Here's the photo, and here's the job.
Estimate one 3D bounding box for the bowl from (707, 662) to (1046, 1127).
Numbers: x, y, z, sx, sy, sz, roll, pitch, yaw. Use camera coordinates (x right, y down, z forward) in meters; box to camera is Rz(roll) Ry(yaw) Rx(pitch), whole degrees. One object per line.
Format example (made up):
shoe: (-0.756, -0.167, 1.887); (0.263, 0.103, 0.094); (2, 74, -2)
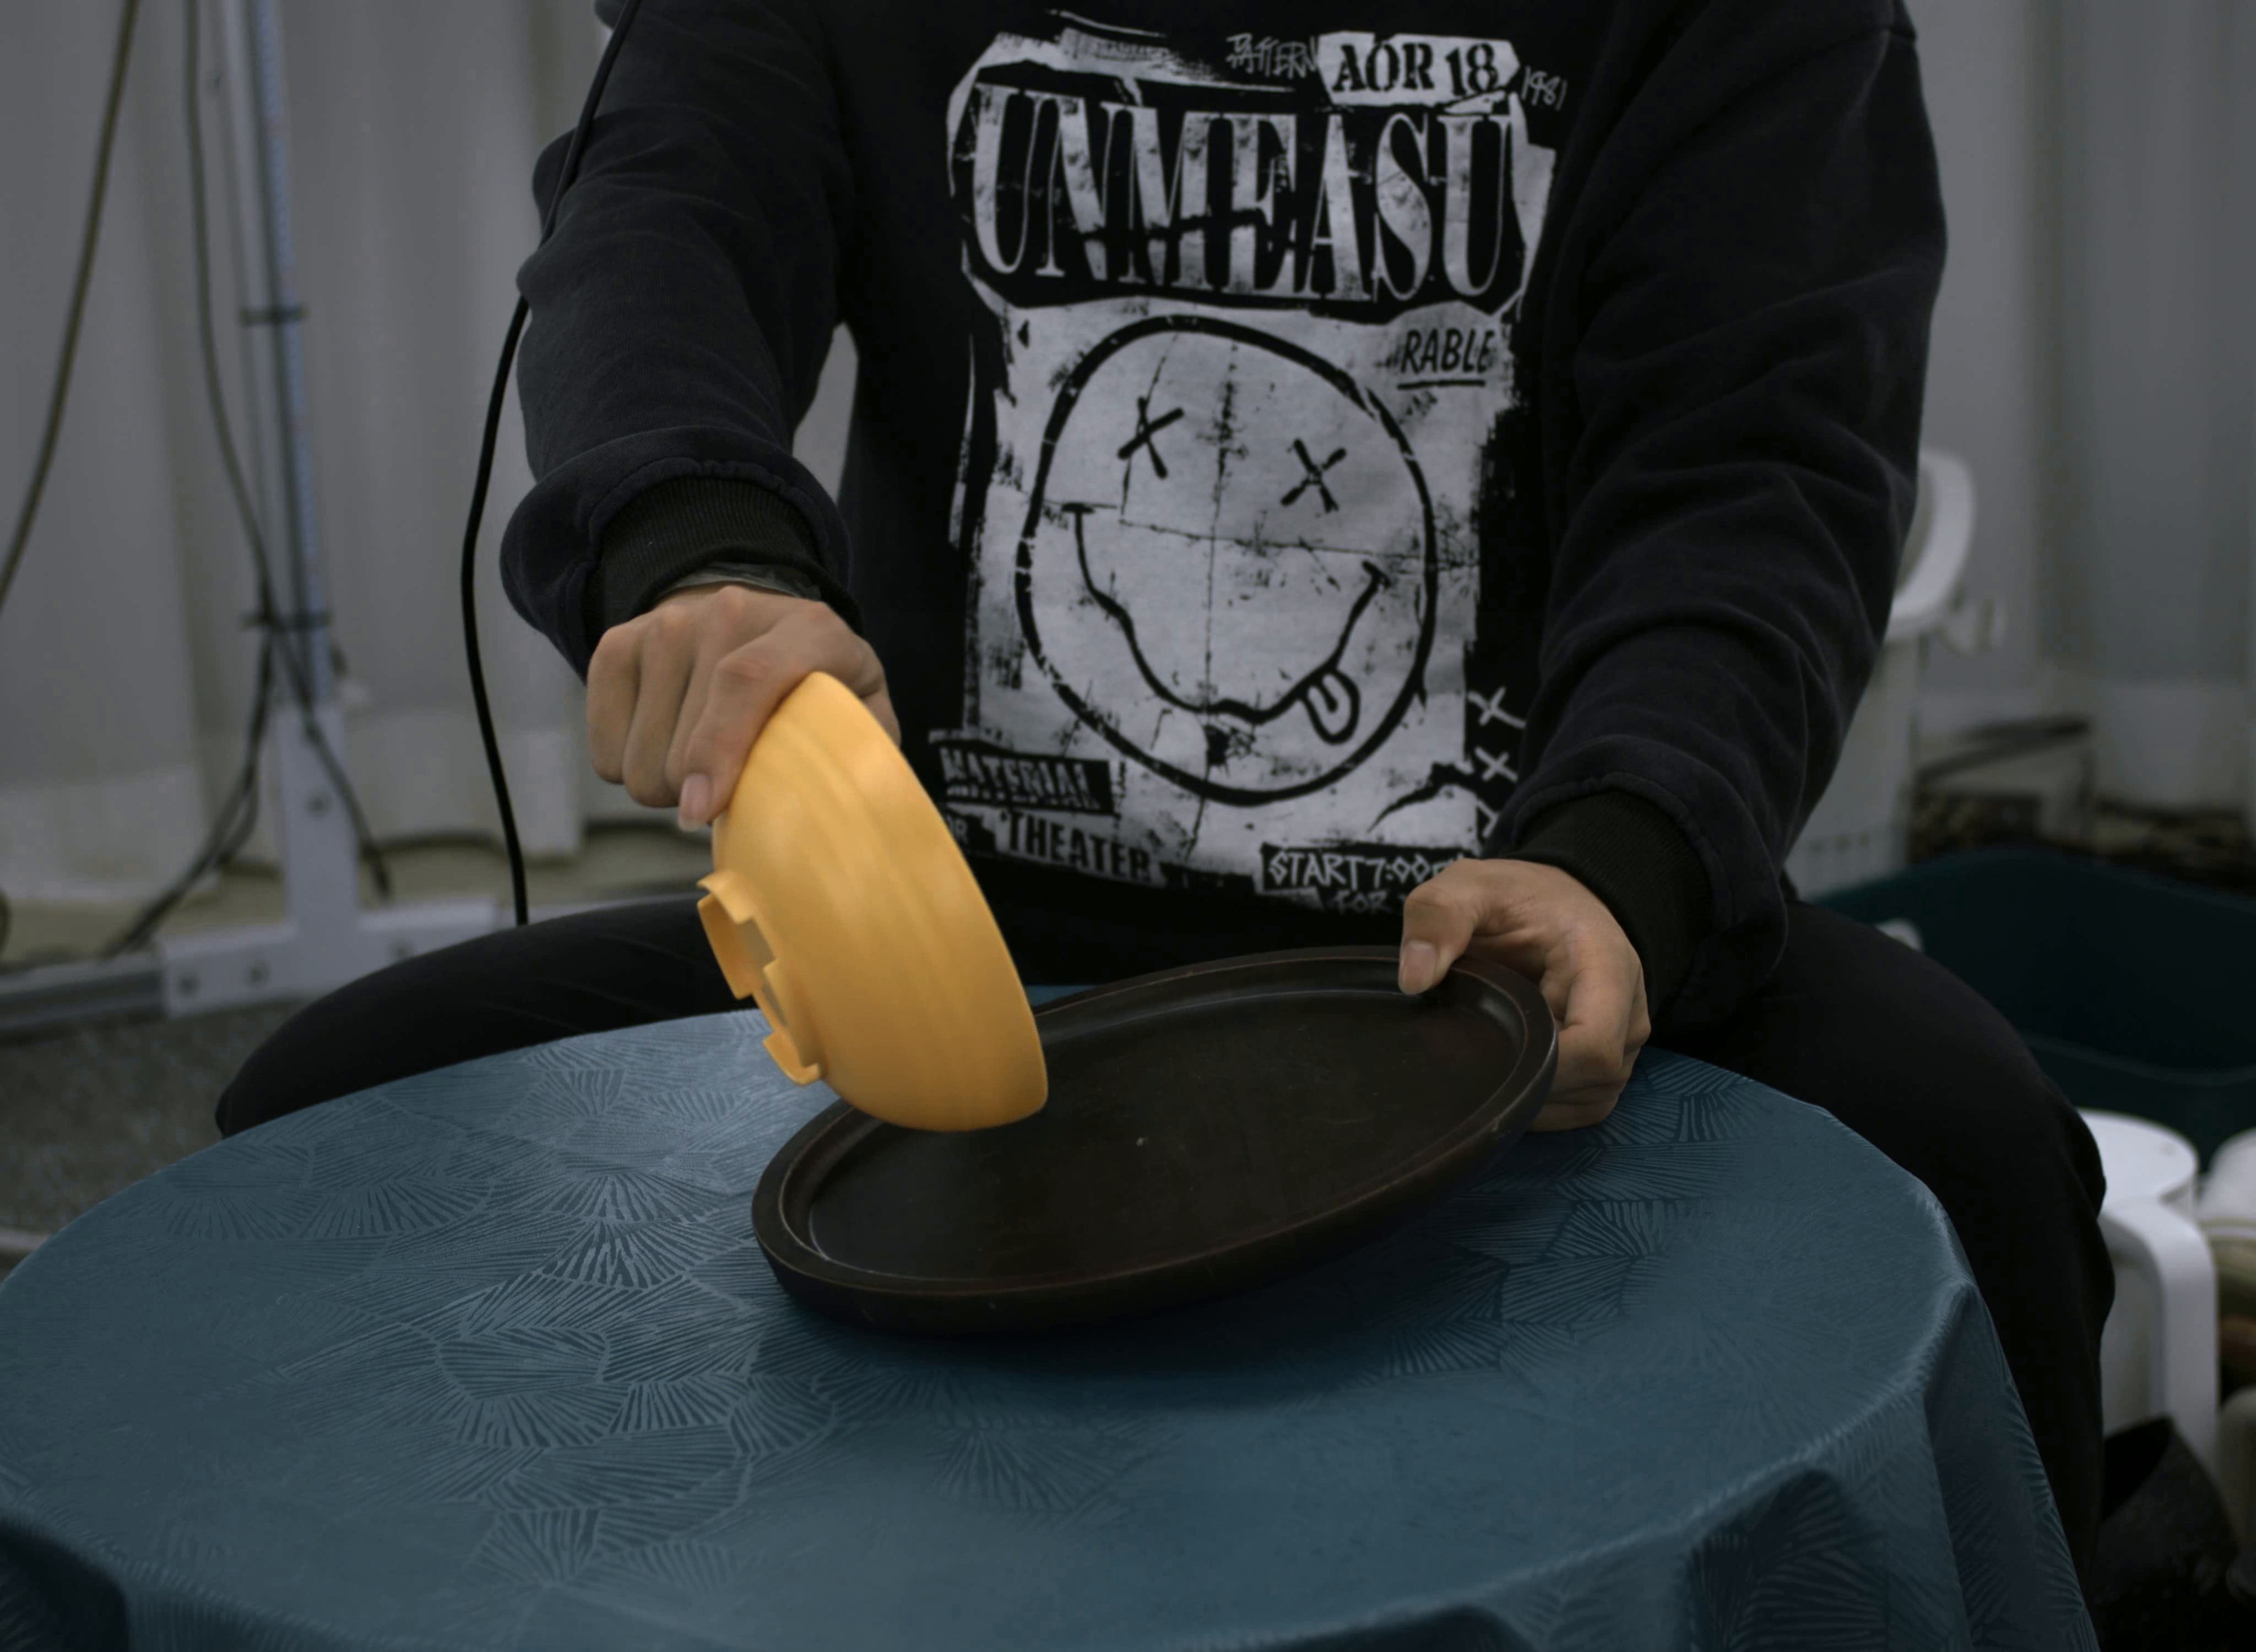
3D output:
bowl: (-0.081, 0.030, 1.575); (0.060, 0.144, 0.146); (-25, 20, -11)

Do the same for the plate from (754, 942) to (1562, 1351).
plate: (0.010, 0.096, 1.660); (0.254, 0.029, 0.257); (-15, 16, 4)
